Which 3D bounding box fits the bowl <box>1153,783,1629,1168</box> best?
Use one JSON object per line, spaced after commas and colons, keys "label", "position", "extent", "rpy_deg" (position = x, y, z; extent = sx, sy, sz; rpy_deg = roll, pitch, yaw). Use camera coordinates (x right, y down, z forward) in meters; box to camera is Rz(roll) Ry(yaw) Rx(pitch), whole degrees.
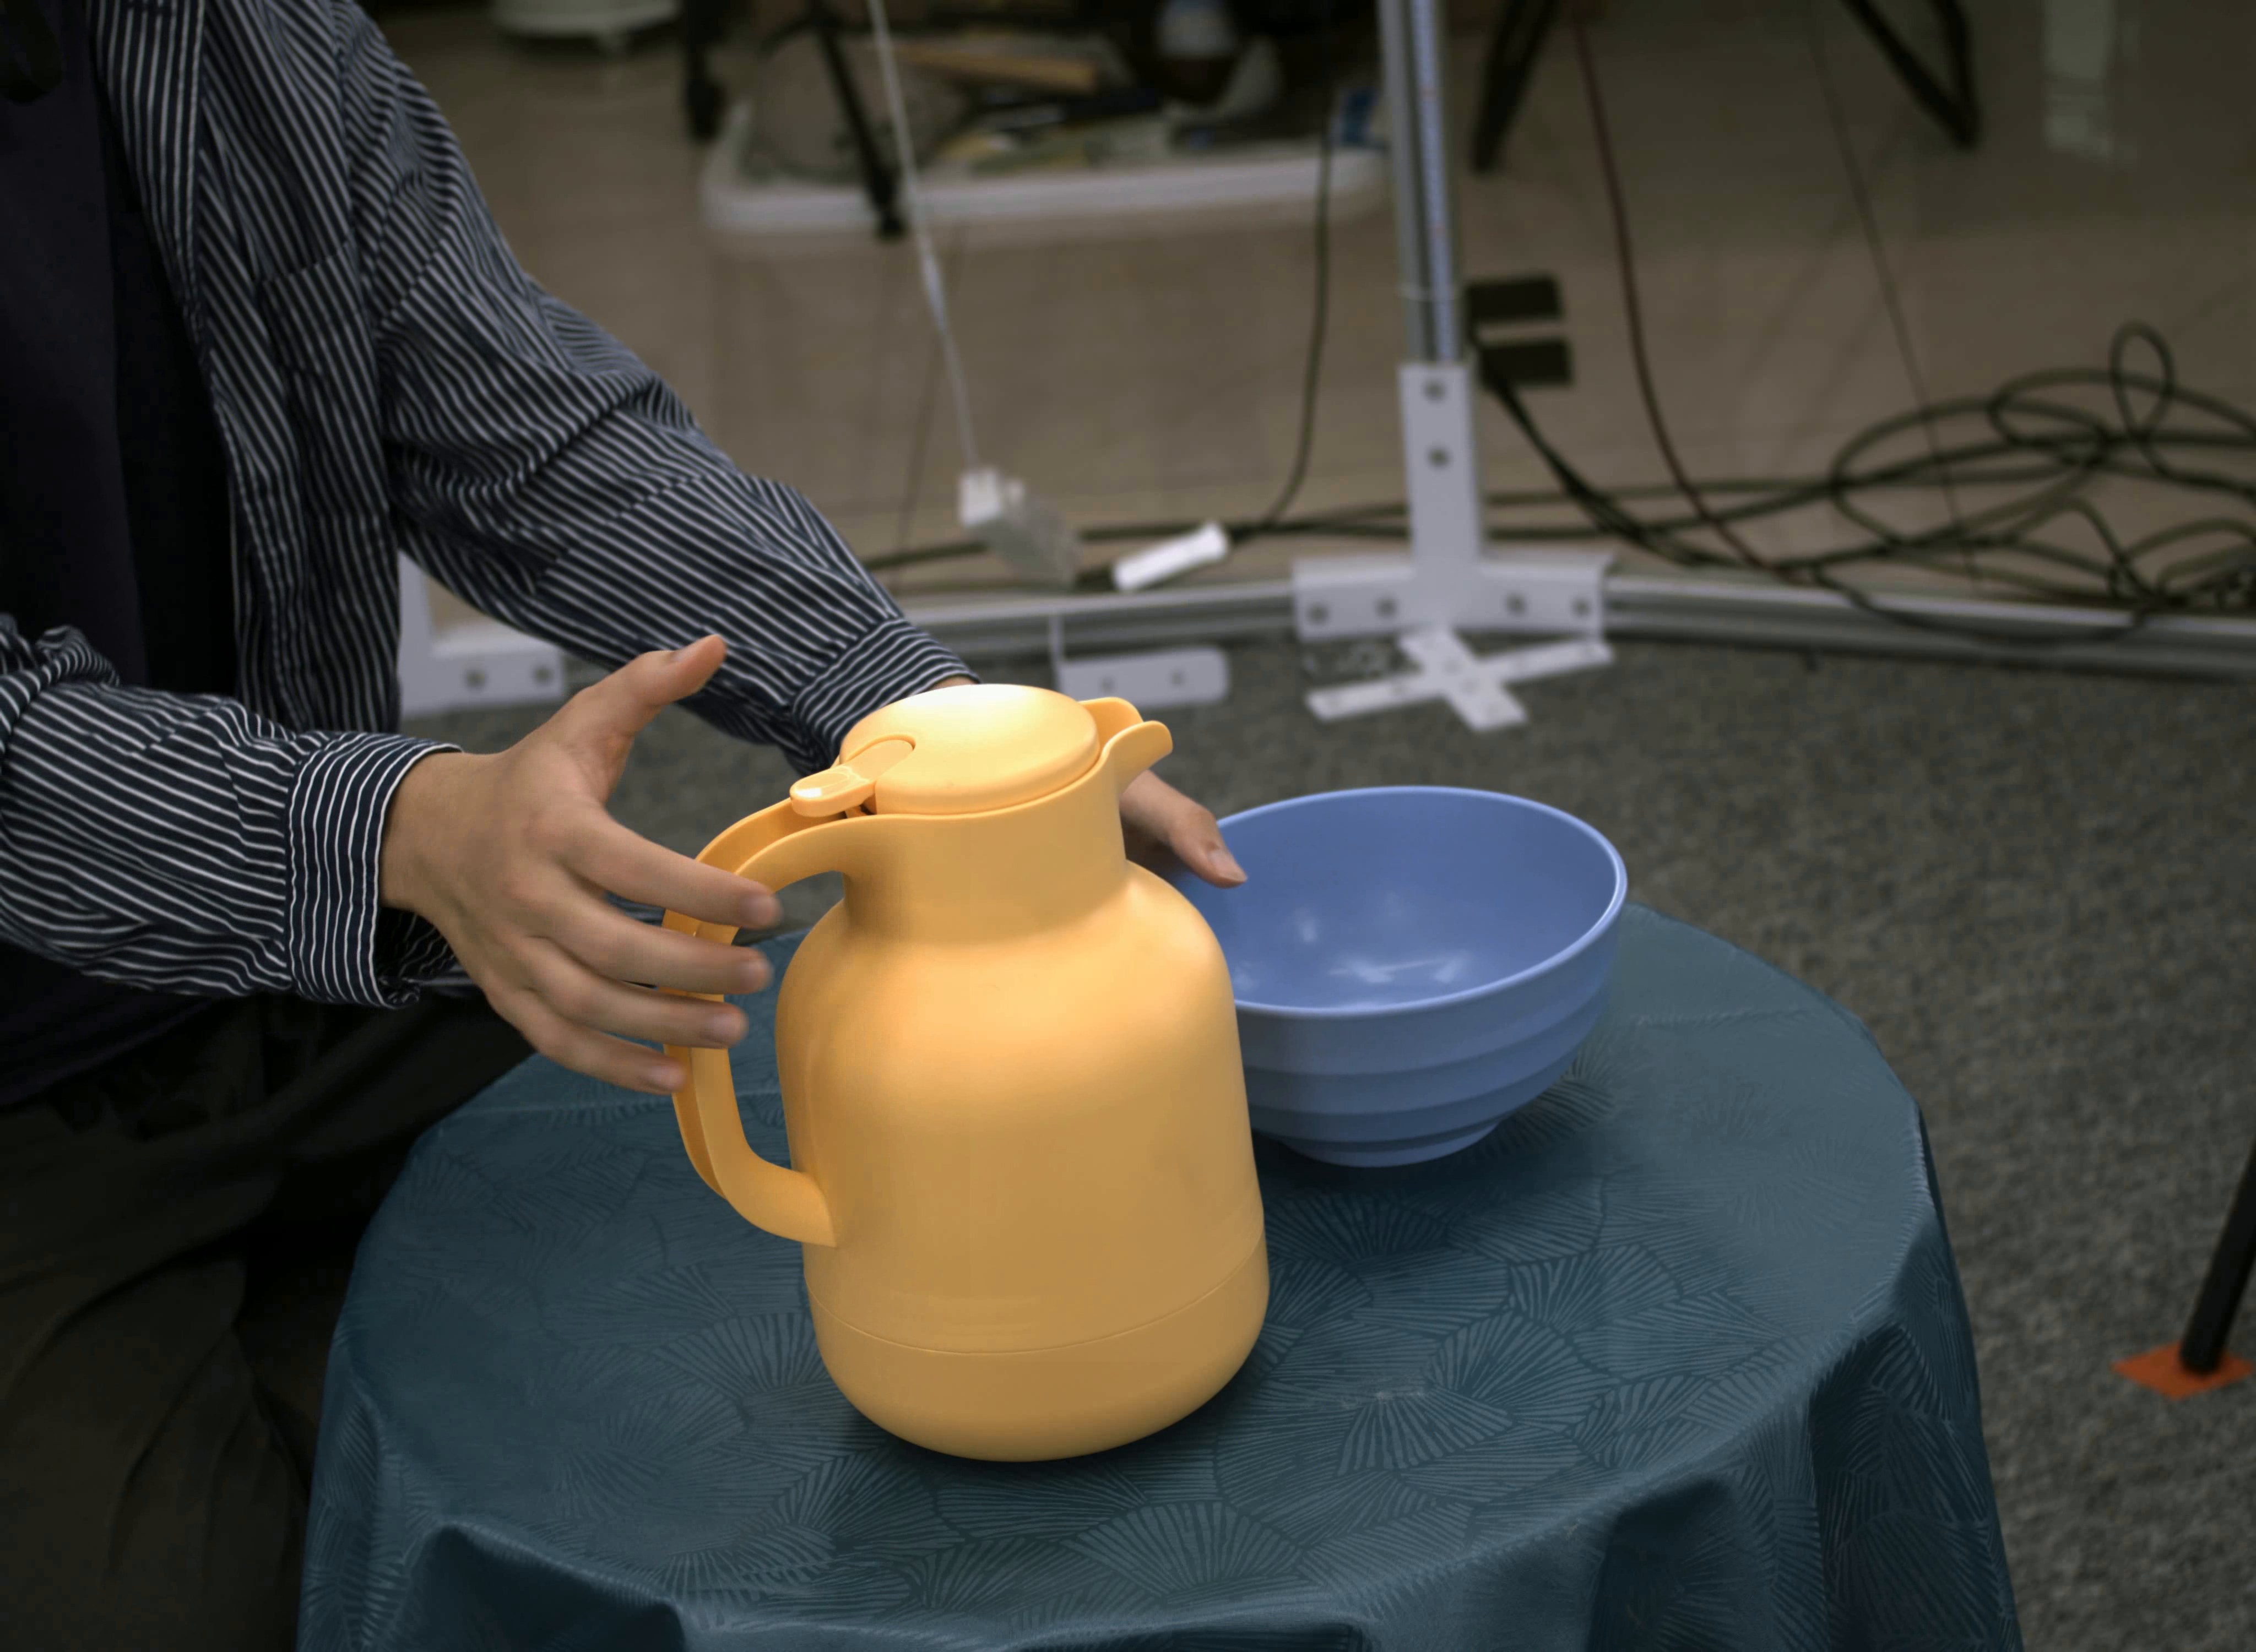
{"label": "bowl", "position": [0.096, 0.068, 2.166], "extent": [0.196, 0.097, 0.193], "rpy_deg": [-5, 26, 3]}

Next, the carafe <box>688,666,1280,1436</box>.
{"label": "carafe", "position": [-0.053, 0.080, 1.981], "extent": [0.201, 0.265, 0.161], "rpy_deg": [-19, 29, -23]}
